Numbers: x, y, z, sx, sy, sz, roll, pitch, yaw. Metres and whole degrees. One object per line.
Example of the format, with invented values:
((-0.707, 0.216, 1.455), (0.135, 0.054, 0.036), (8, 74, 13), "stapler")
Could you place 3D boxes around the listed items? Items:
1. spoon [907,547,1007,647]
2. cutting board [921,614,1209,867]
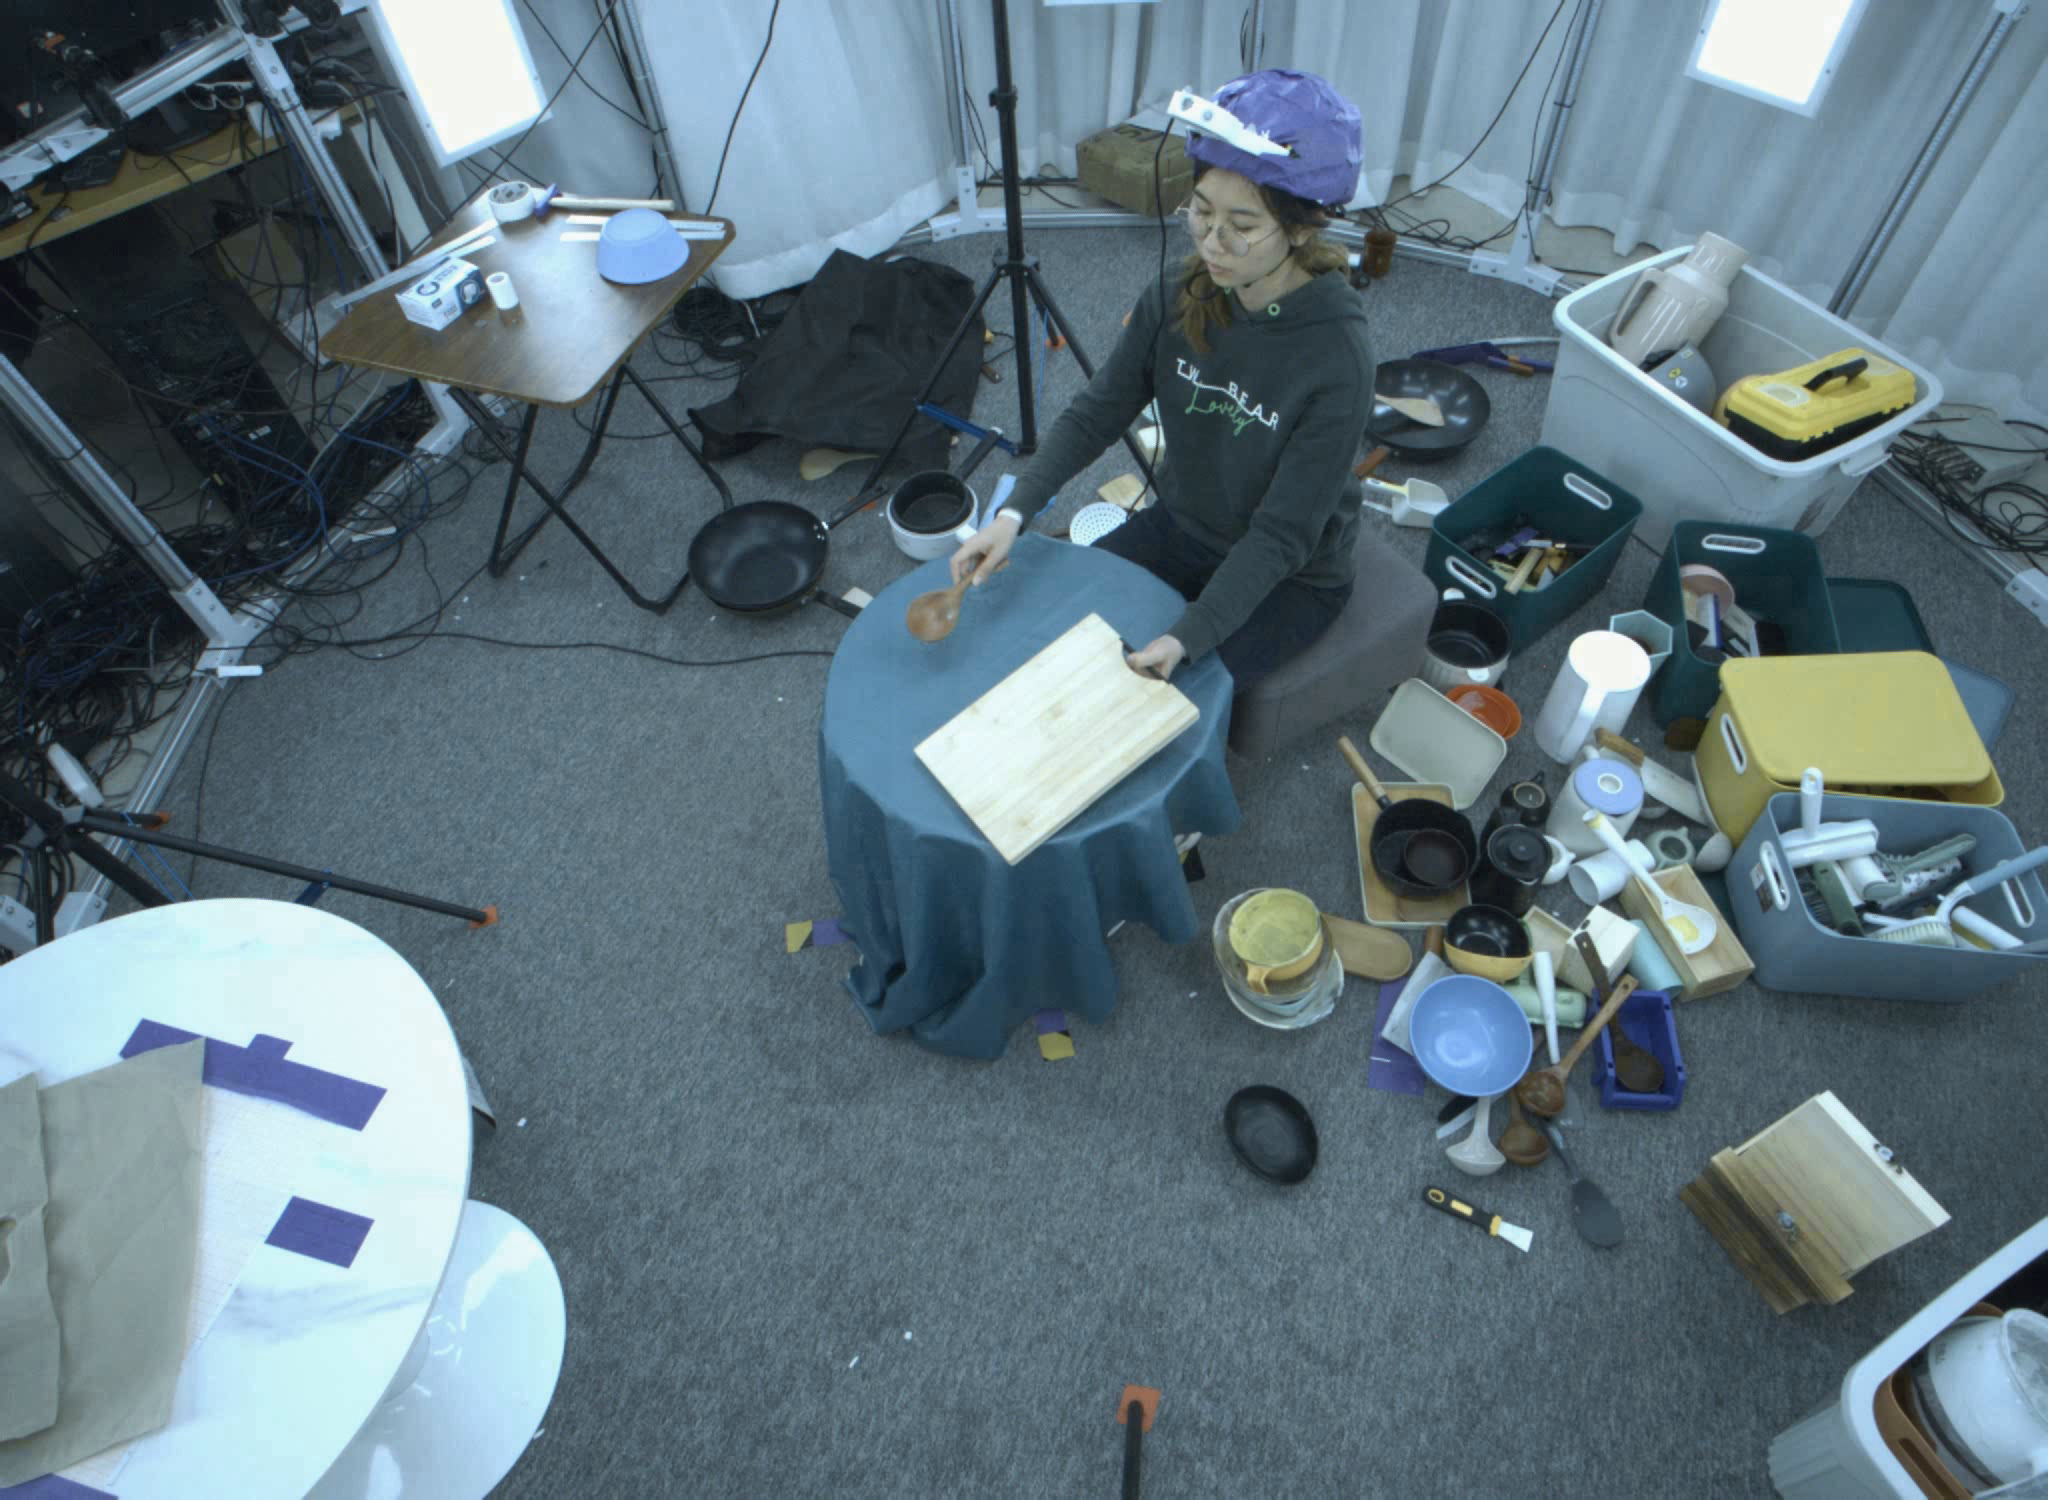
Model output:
((-0.098, -0.238, 1.883), (0.075, 0.017, 0.217), (40, 68, 2), "spoon")
((0.053, -0.021, 1.761), (0.350, 0.024, 0.246), (-39, 62, -10), "cutting board")
